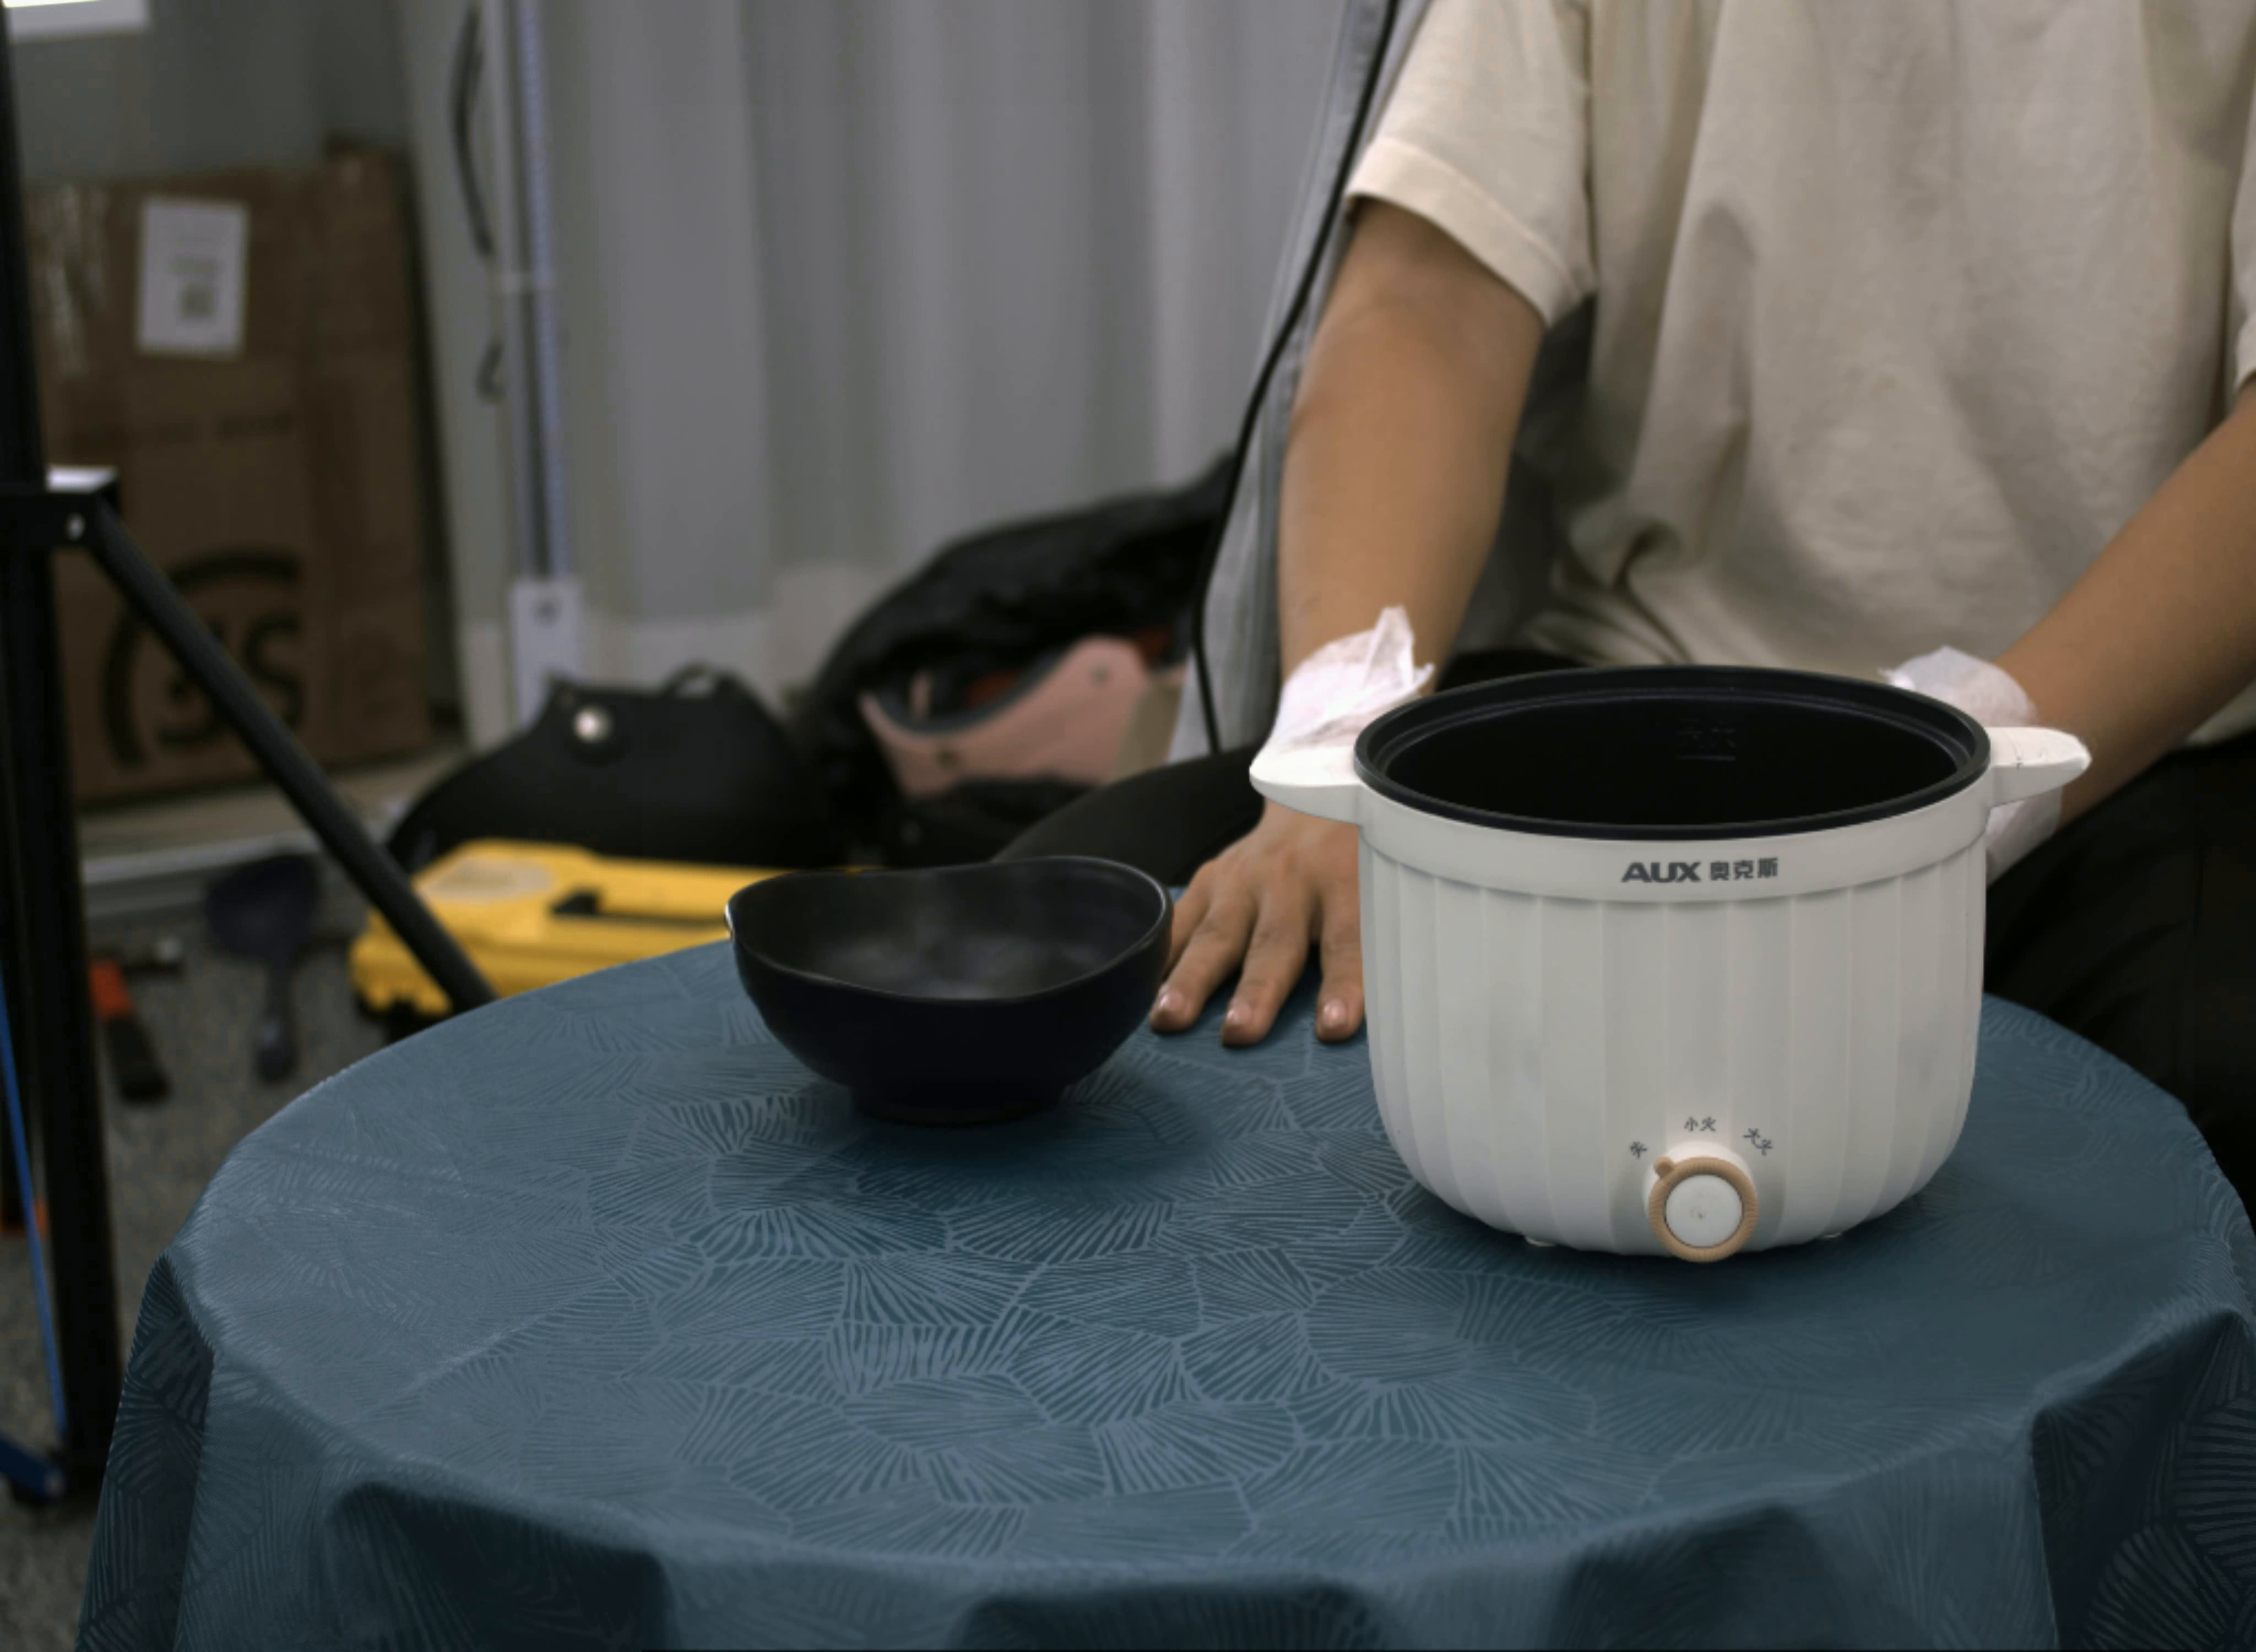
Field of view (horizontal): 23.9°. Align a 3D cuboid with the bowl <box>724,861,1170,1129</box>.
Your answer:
[{"bbox_3d":[-0.056,0.054,1.642,0.136,0.067,0.172,-3,15,-9],"label":"bowl"}]

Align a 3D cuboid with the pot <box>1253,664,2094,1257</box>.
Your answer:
[{"bbox_3d":[0.158,0.041,1.514,0.239,0.143,0.191,-3,12,2],"label":"pot"}]
